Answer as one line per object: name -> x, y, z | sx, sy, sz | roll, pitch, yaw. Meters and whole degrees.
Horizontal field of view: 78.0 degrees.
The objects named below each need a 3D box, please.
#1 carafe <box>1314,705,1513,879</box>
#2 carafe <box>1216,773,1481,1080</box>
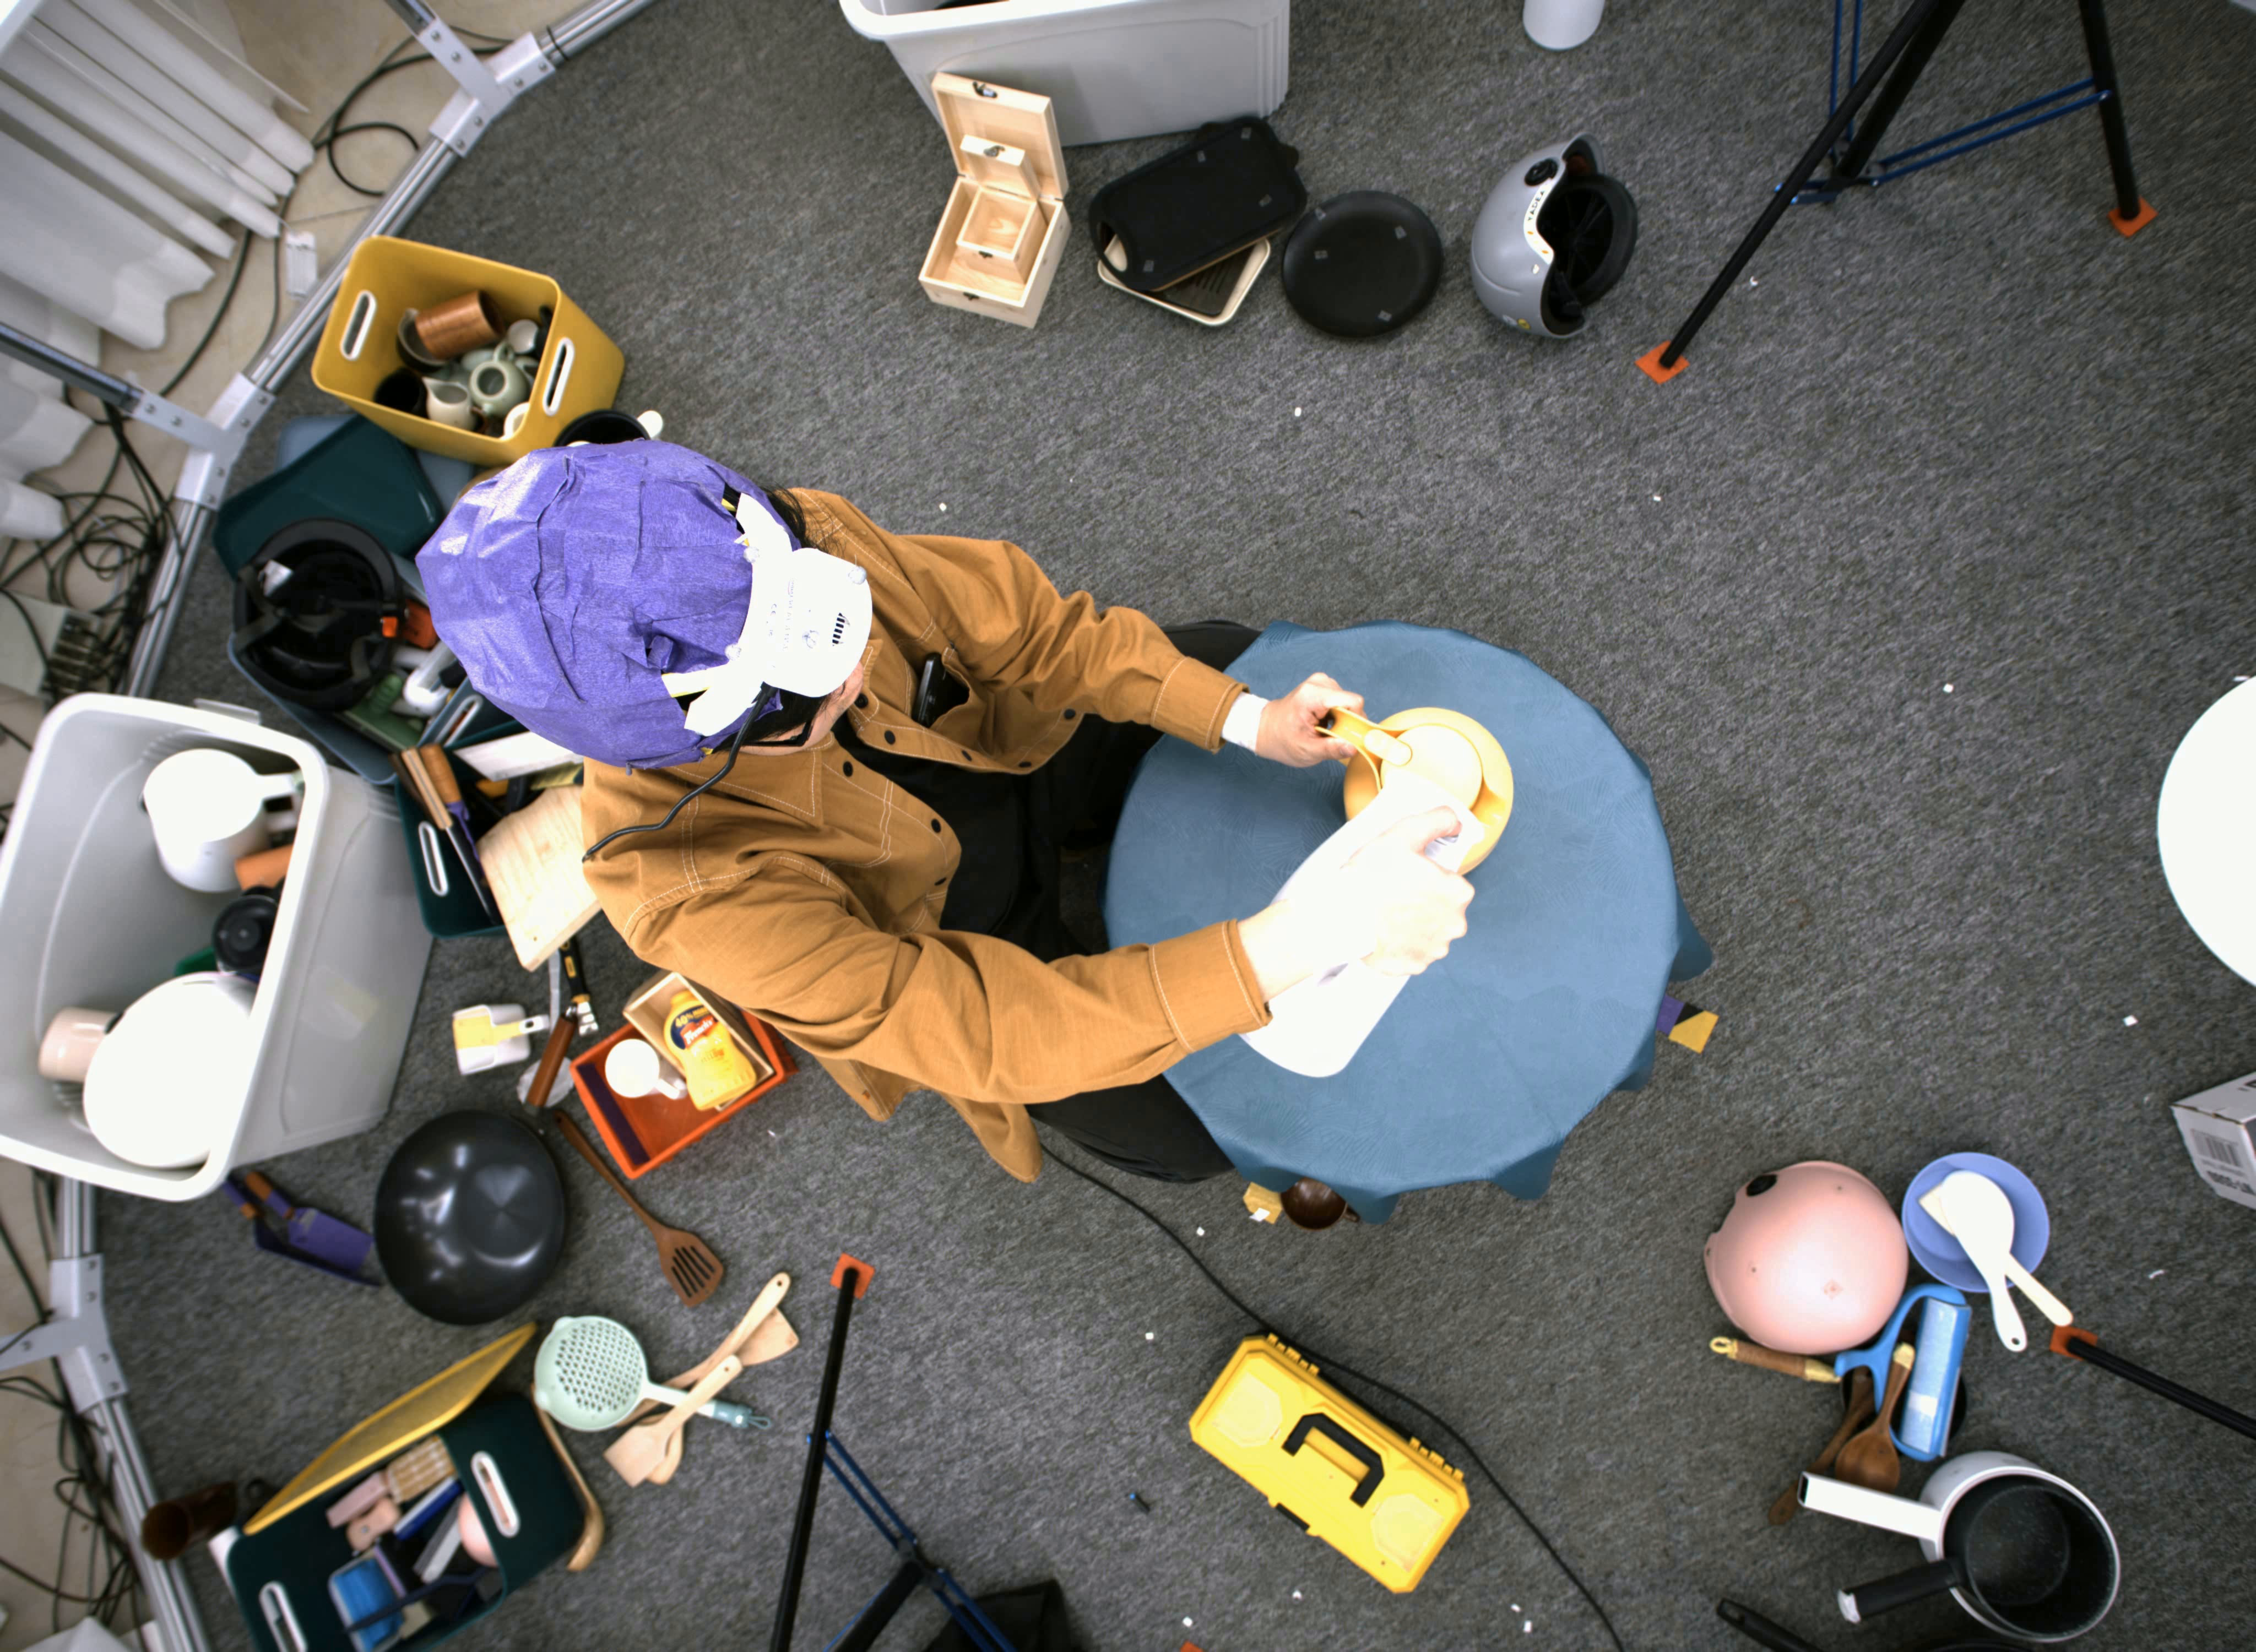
carafe -> 0.274, -0.045, 1.335 | 0.202, 0.261, 0.163 | 35, 91, 11
carafe -> 0.187, 0.084, 1.127 | 0.133, 0.164, 0.254 | 27, 118, -6
